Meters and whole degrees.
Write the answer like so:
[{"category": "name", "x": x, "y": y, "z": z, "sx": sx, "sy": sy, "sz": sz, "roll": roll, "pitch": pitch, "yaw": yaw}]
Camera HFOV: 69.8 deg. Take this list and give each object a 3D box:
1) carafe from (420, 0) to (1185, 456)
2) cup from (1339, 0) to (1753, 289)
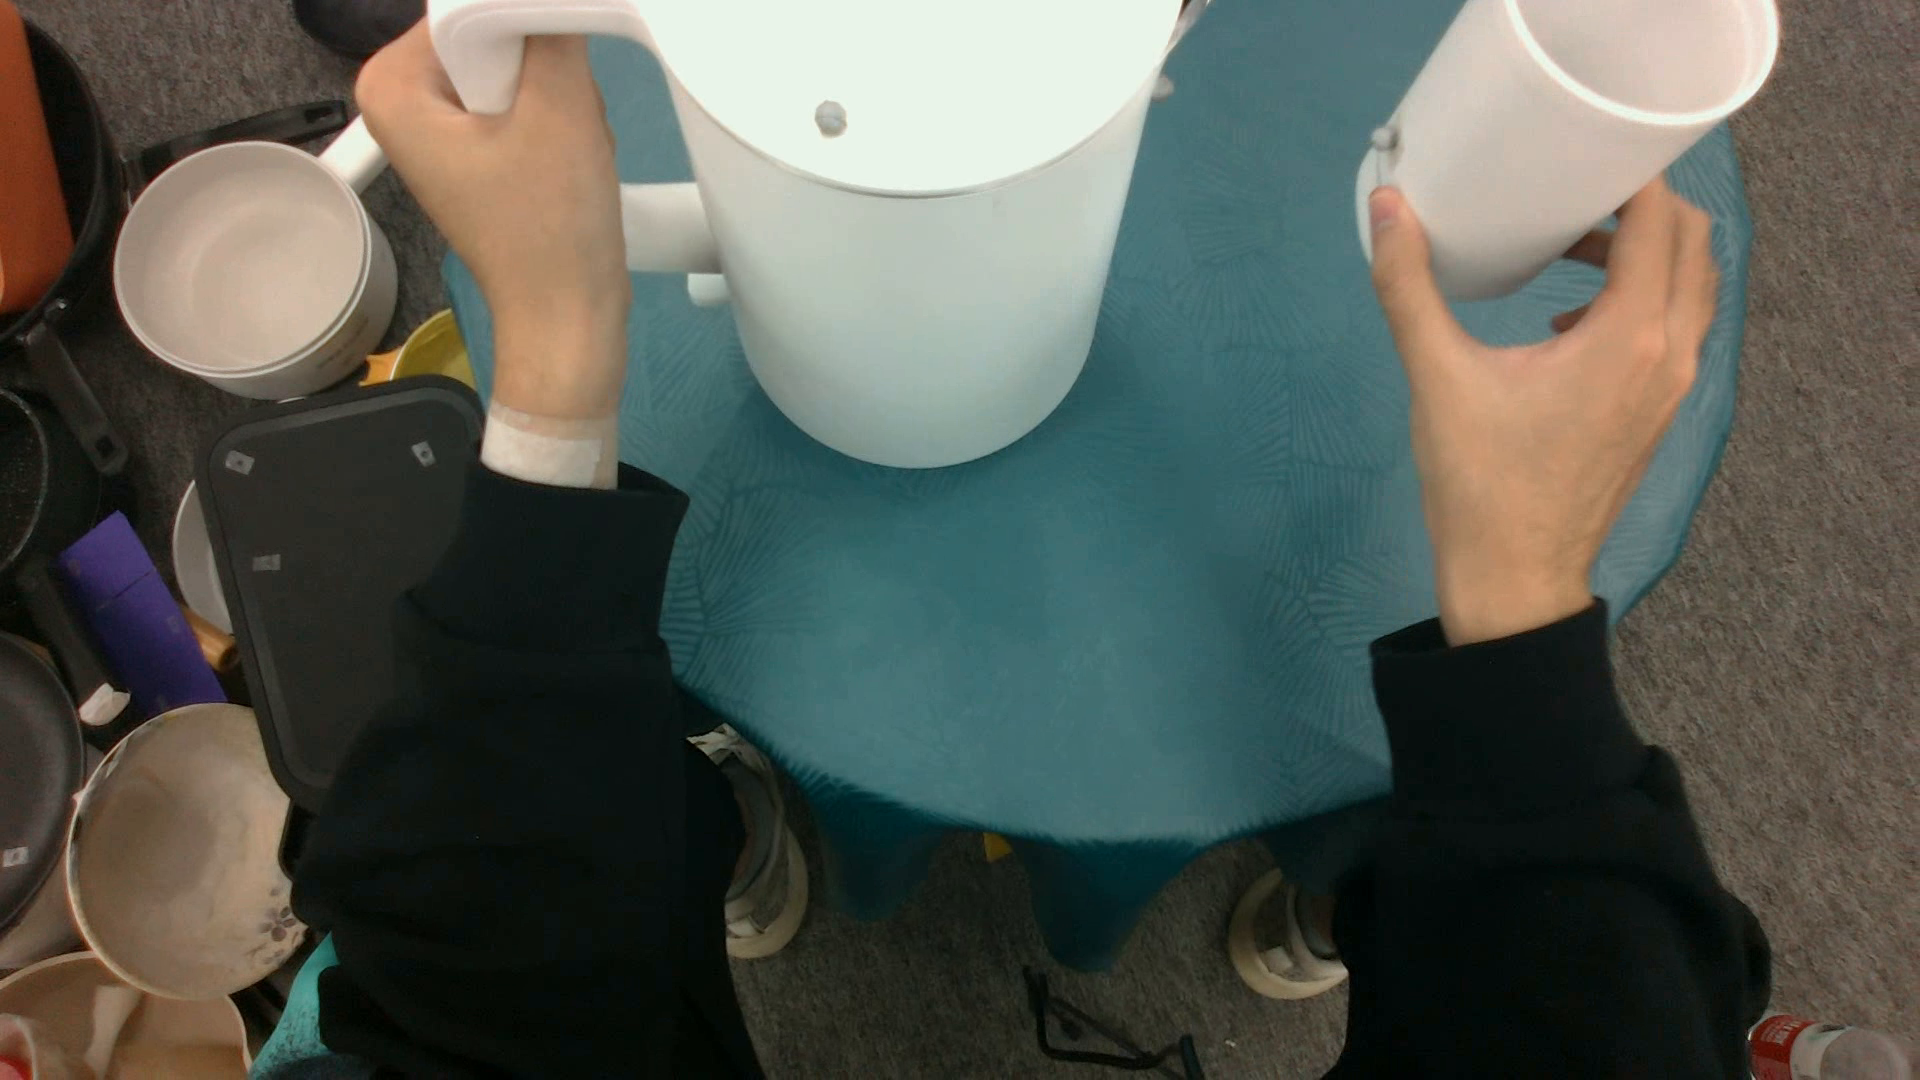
[{"category": "carafe", "x": -0.046, "y": -0.135, "z": 0.467, "sx": 0.213, "sy": 0.239, "sz": 0.152, "roll": -1, "pitch": 76, "yaw": -4}, {"category": "cup", "x": 0.177, "y": -0.139, "z": 0.444, "sx": 0.082, "sy": 0.125, "sz": 0.082, "roll": 2, "pitch": 74, "yaw": -6}]
